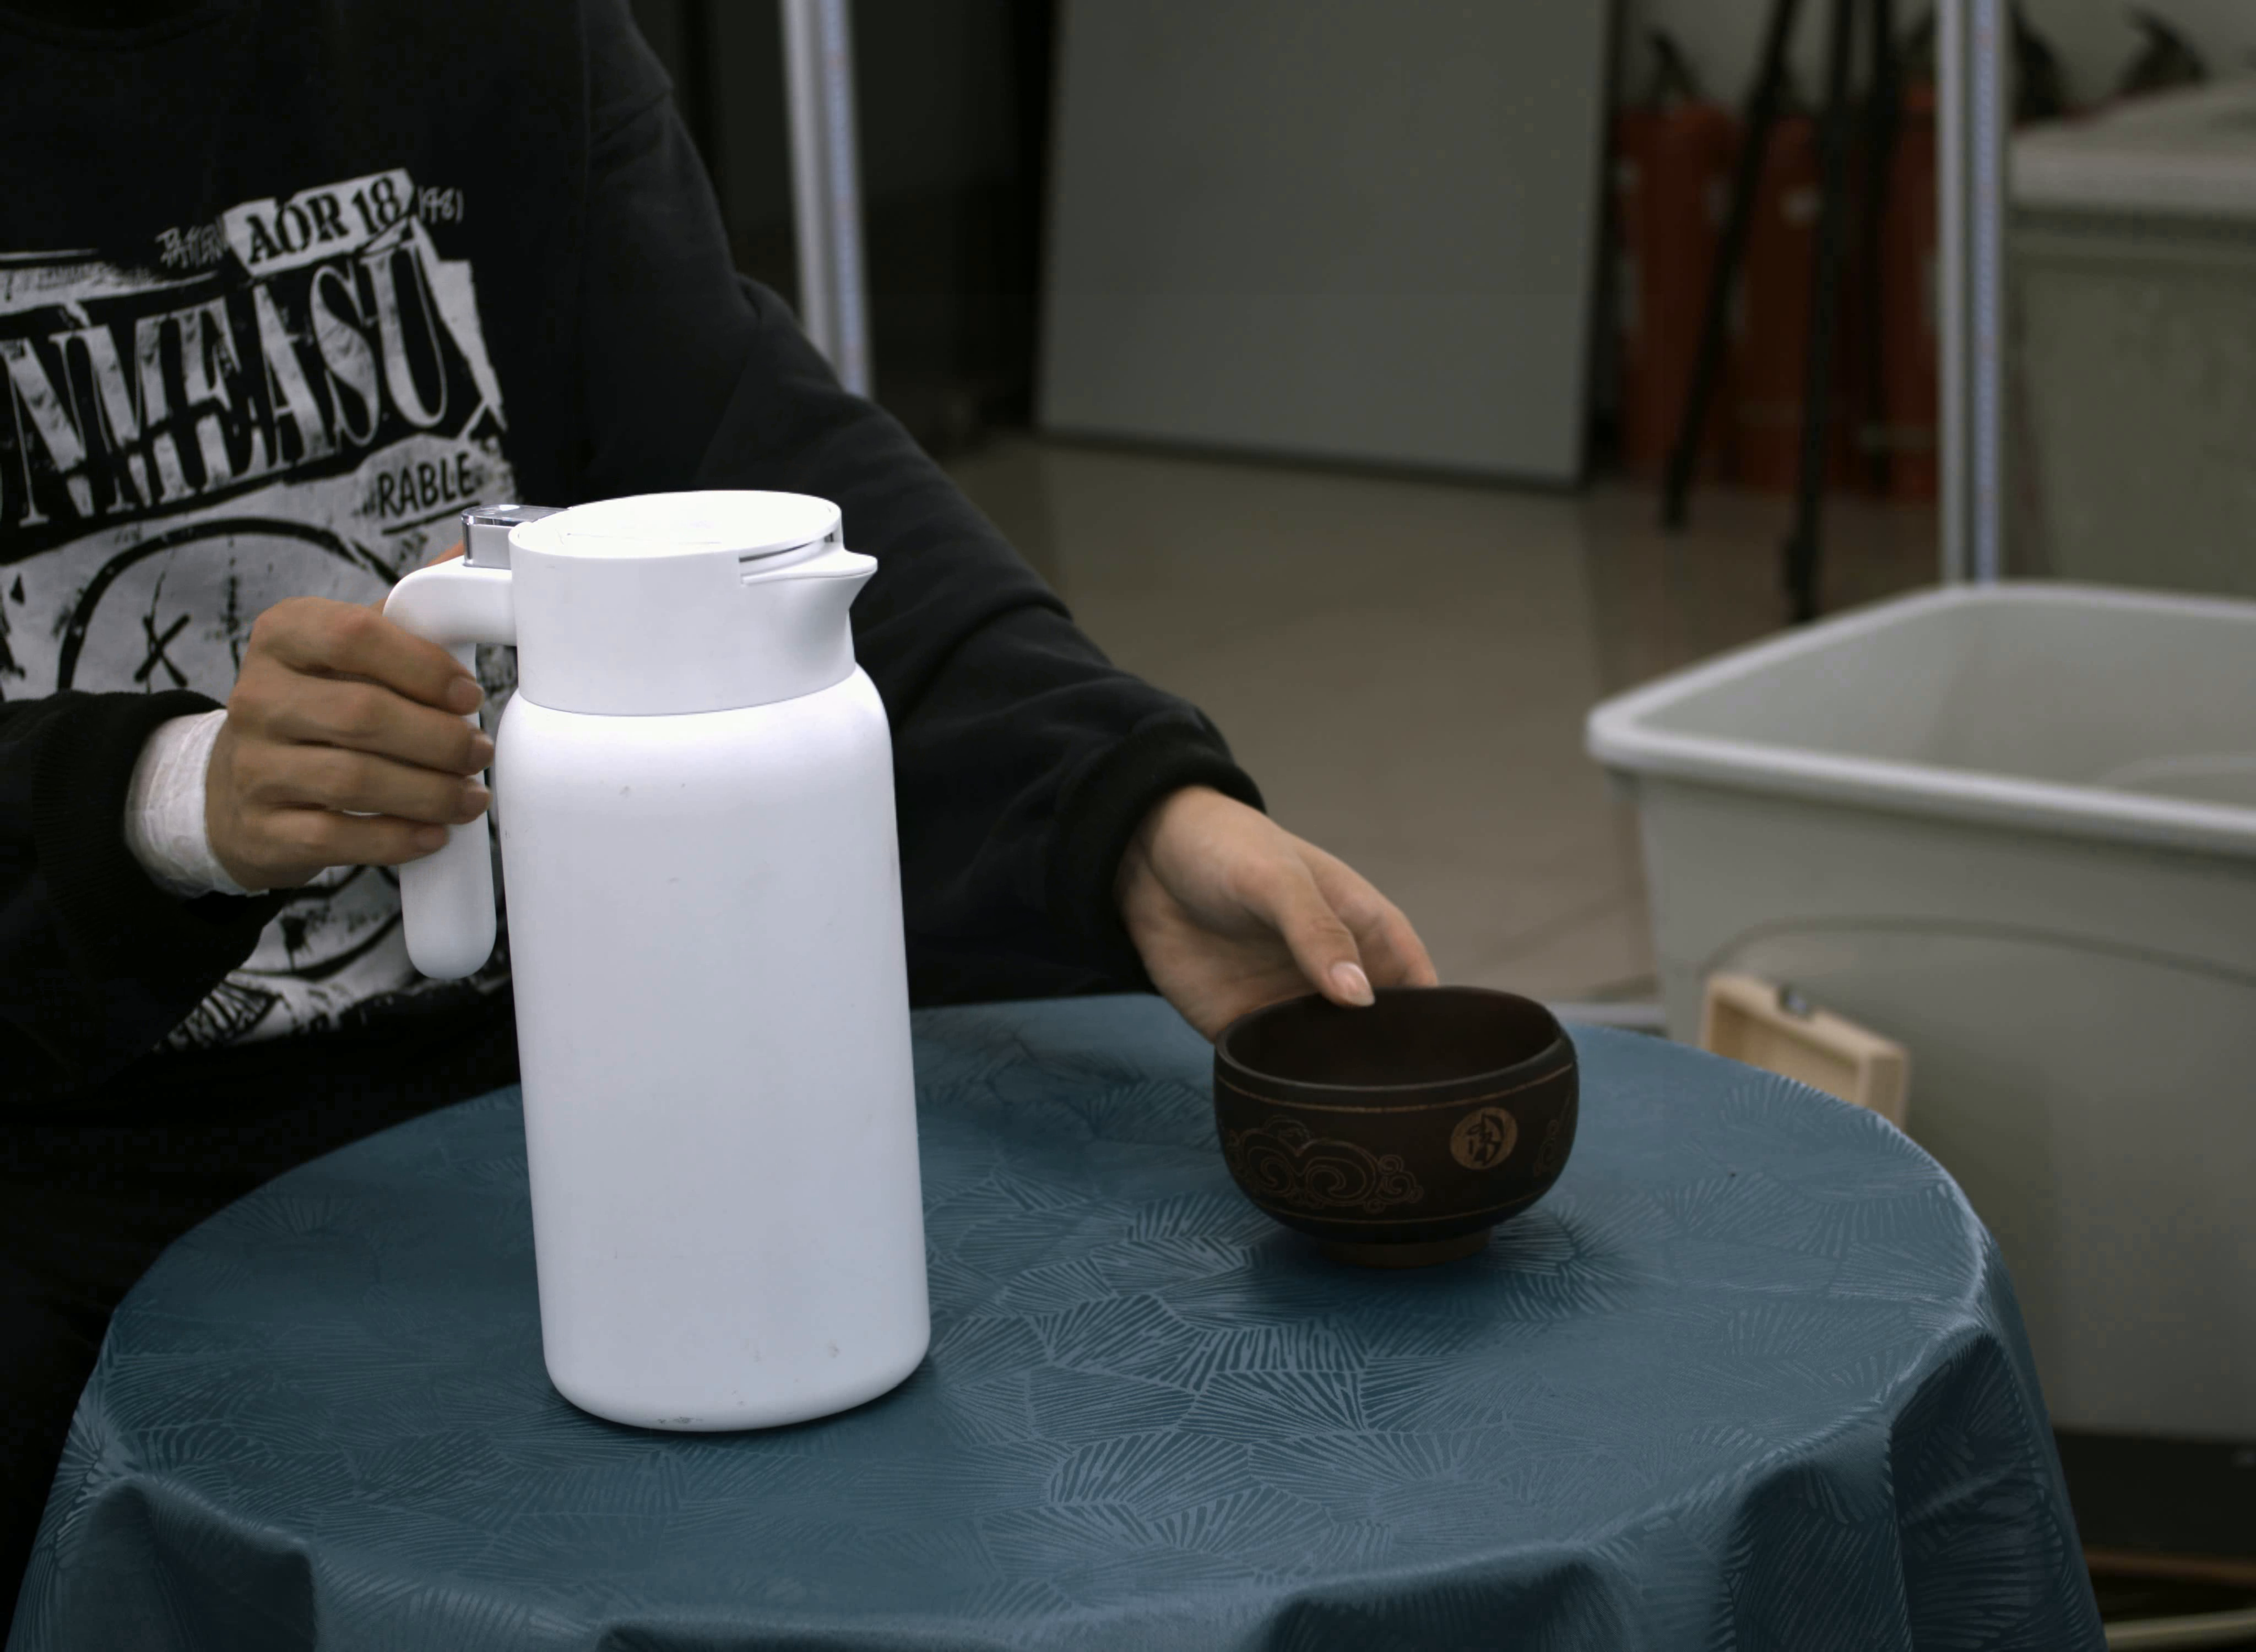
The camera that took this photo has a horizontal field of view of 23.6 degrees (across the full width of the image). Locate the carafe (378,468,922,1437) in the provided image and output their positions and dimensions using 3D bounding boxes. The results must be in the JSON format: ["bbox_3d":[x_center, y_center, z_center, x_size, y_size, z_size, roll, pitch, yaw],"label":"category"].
[{"bbox_3d":[-0.141,0.036,1.603,0.173,0.272,0.122,4,17,31],"label":"carafe"}]

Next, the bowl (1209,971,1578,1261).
[{"bbox_3d":[0.085,0.095,1.698,0.116,0.070,0.118,-5,14,0],"label":"bowl"}]
